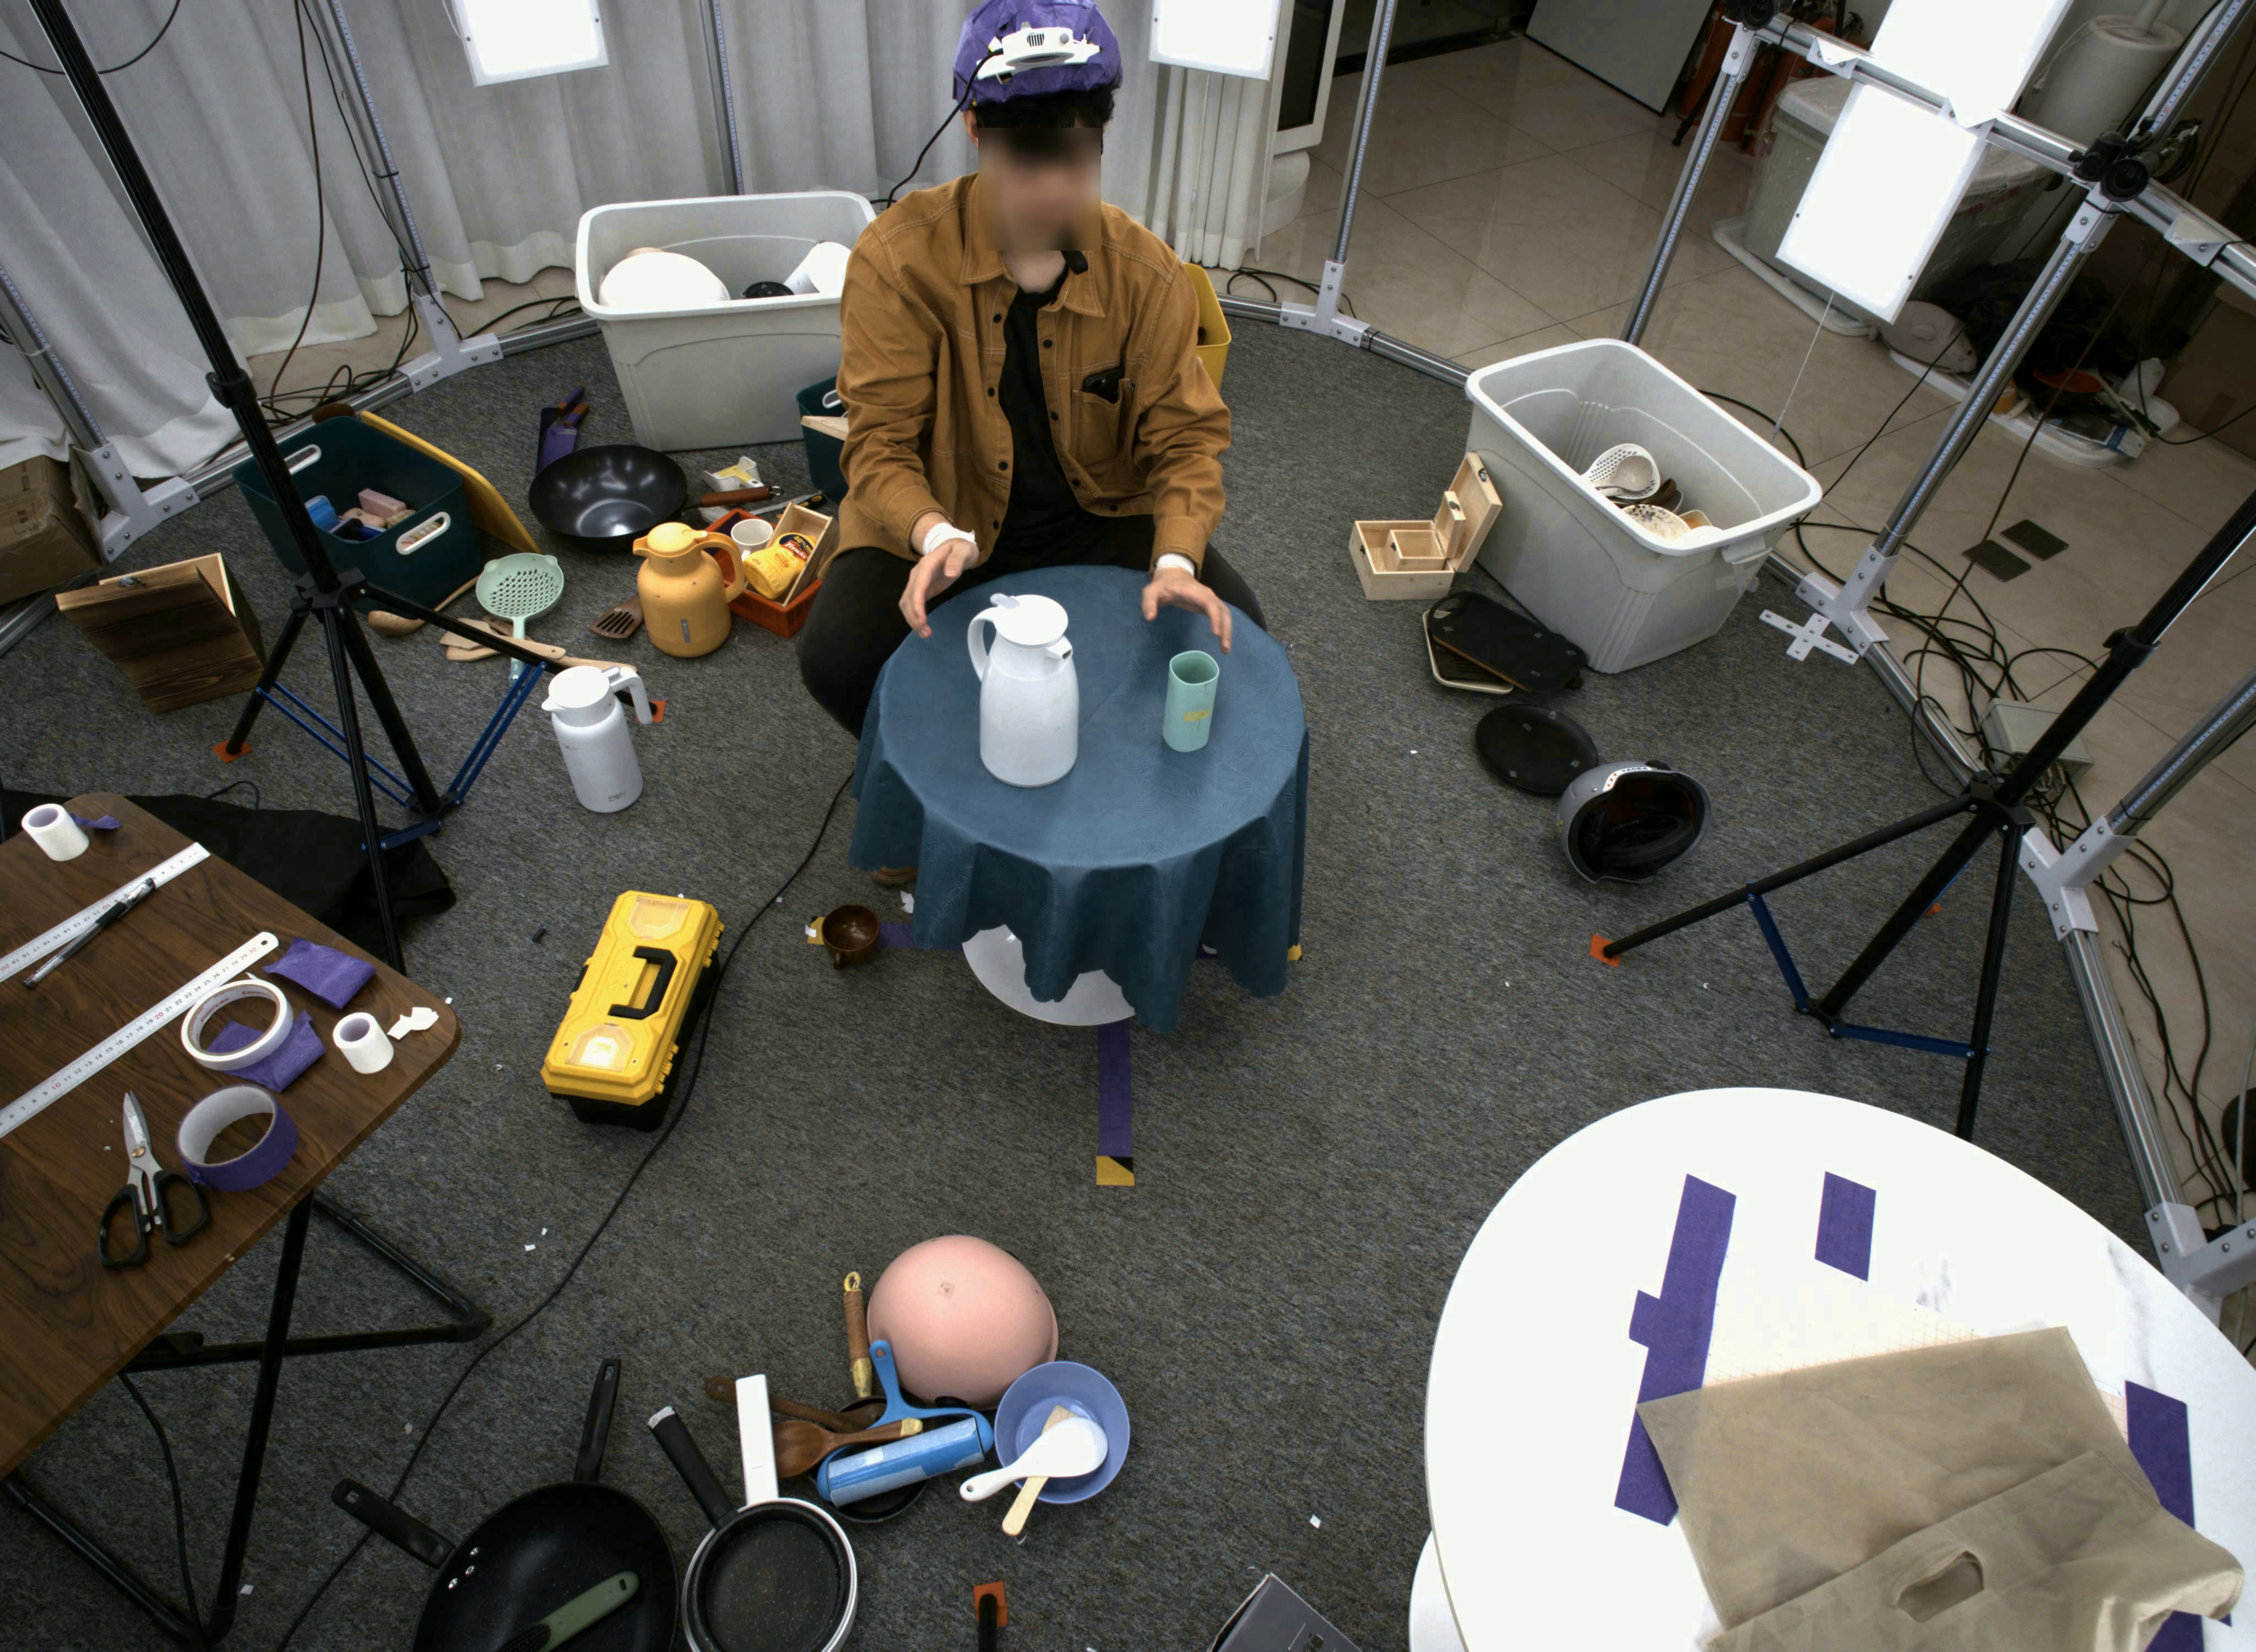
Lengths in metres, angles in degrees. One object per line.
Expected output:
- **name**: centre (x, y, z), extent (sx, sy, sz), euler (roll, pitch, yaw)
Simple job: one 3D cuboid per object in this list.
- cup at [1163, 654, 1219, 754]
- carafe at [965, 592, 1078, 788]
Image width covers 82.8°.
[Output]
- **cup**: centre (0.083, -0.166, 1.738), extent (0.066, 0.129, 0.068), euler (2, 49, -3)
- **carafe**: centre (-0.144, -0.188, 1.664), extent (0.170, 0.242, 0.134), euler (34, 56, 23)
